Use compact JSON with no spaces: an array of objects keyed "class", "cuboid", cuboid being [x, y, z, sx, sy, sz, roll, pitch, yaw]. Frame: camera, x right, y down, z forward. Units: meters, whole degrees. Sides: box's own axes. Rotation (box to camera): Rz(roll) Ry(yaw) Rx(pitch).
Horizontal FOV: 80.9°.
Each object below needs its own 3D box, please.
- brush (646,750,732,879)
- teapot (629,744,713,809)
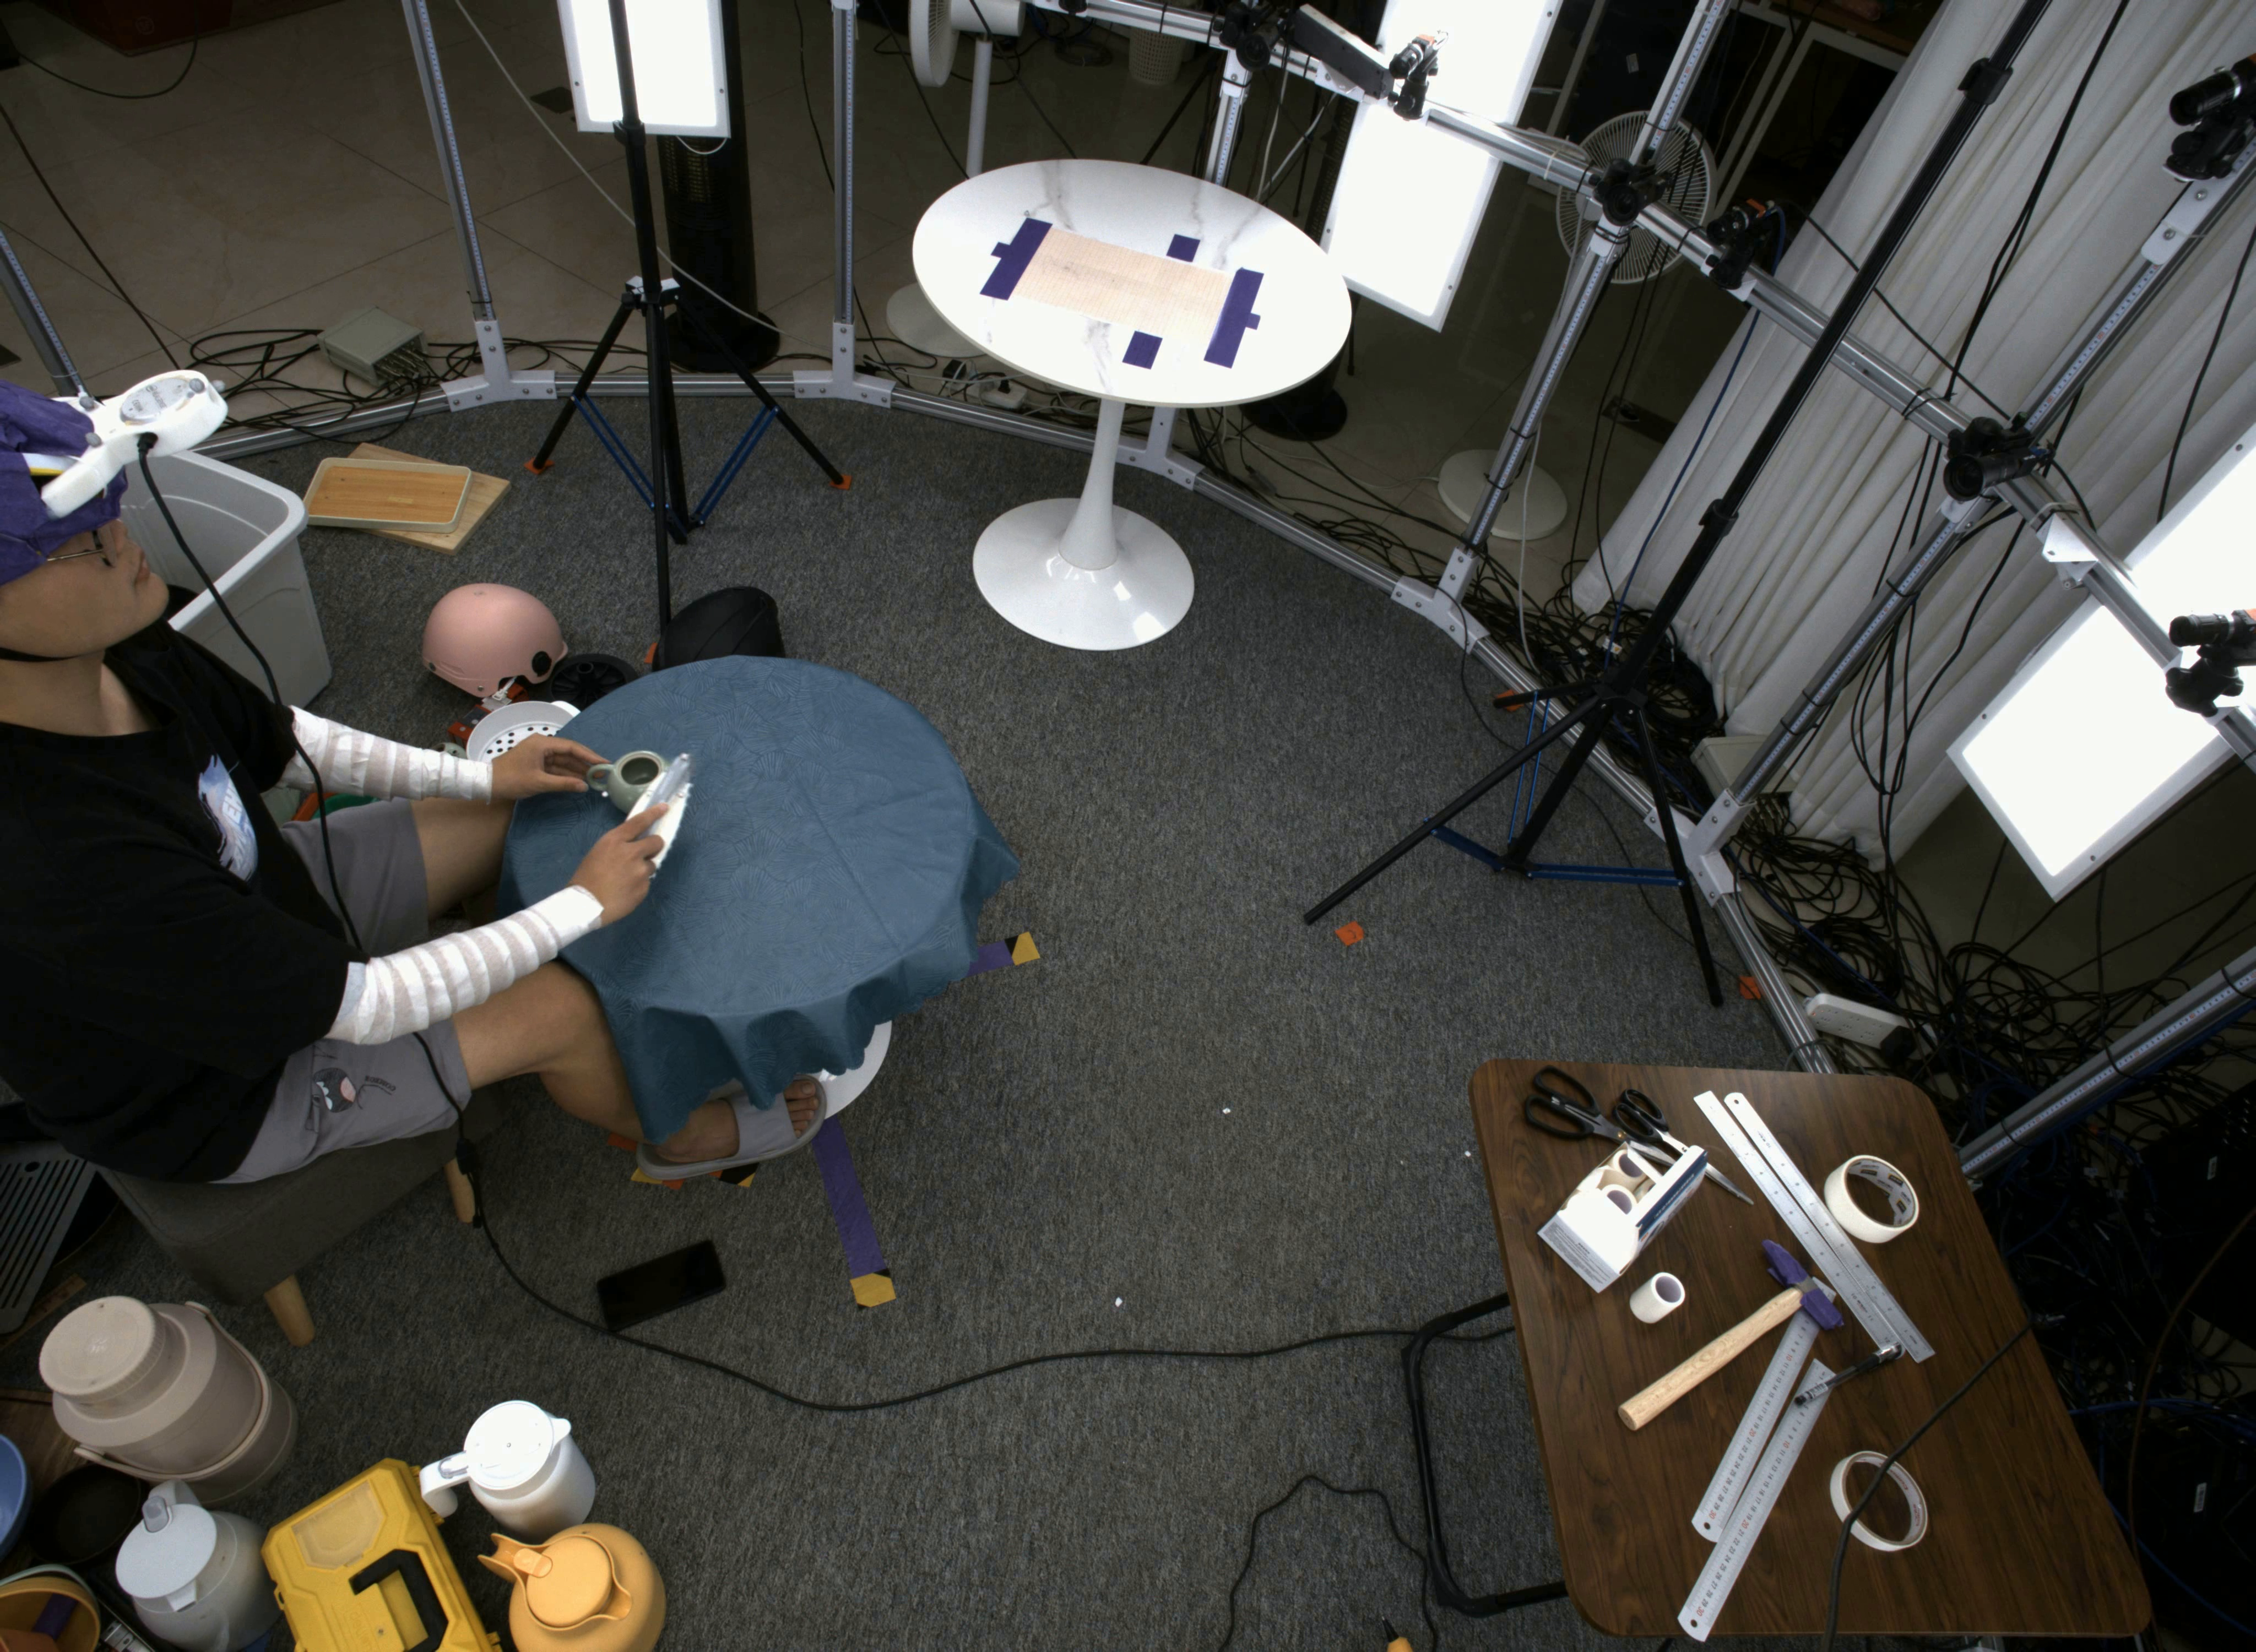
[{"class":"brush","cuboid":[-0.541,-0.025,1.607,0.062,0.093,0.176,29,77,-12]},{"class":"teapot","cuboid":[-0.600,-0.066,1.701,0.128,0.062,0.090,11,54,-5]}]
